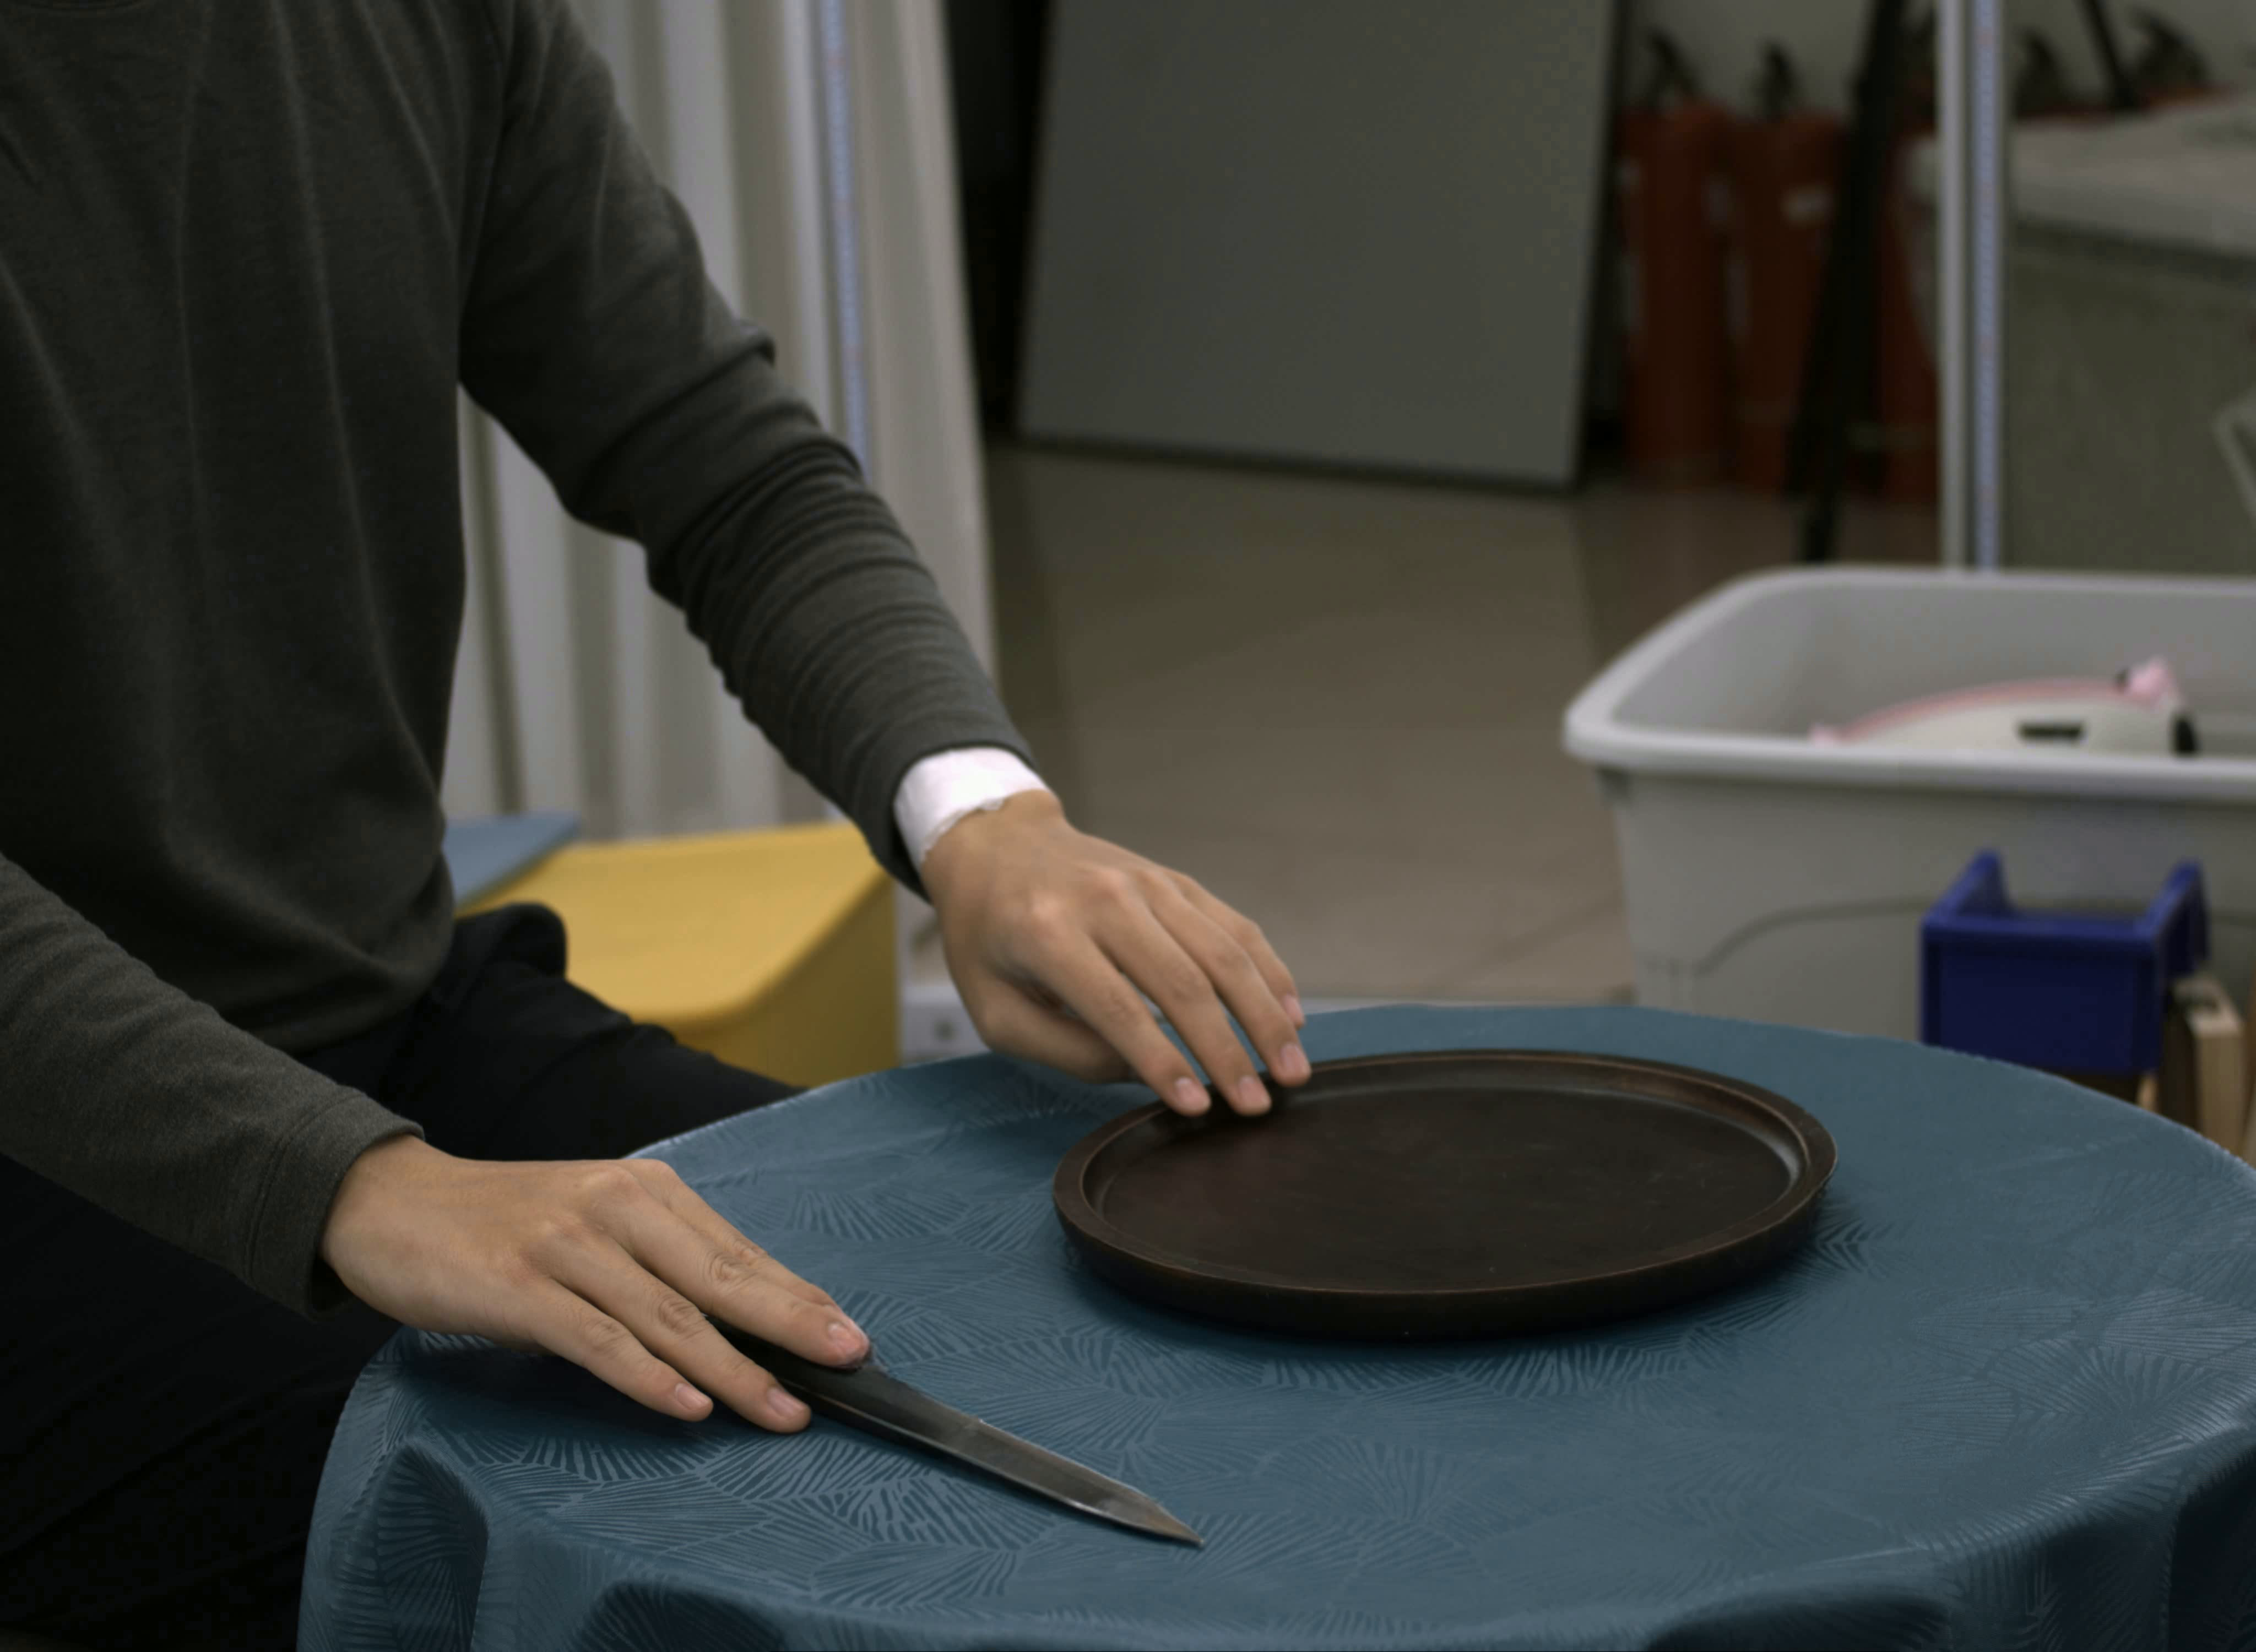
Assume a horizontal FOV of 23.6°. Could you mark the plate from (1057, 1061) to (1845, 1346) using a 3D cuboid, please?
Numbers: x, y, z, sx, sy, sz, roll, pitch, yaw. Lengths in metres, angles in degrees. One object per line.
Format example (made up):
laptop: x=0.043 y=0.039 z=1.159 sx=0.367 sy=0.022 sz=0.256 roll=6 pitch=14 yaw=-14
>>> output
plate: x=0.102 y=0.117 z=1.714 sx=0.251 sy=0.029 sz=0.255 roll=-3 pitch=14 yaw=0

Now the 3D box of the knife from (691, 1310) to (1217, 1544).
knife: x=-0.054 y=0.174 z=1.549 sx=0.024 sy=0.016 sz=0.240 roll=-10 pitch=16 yaw=-38
